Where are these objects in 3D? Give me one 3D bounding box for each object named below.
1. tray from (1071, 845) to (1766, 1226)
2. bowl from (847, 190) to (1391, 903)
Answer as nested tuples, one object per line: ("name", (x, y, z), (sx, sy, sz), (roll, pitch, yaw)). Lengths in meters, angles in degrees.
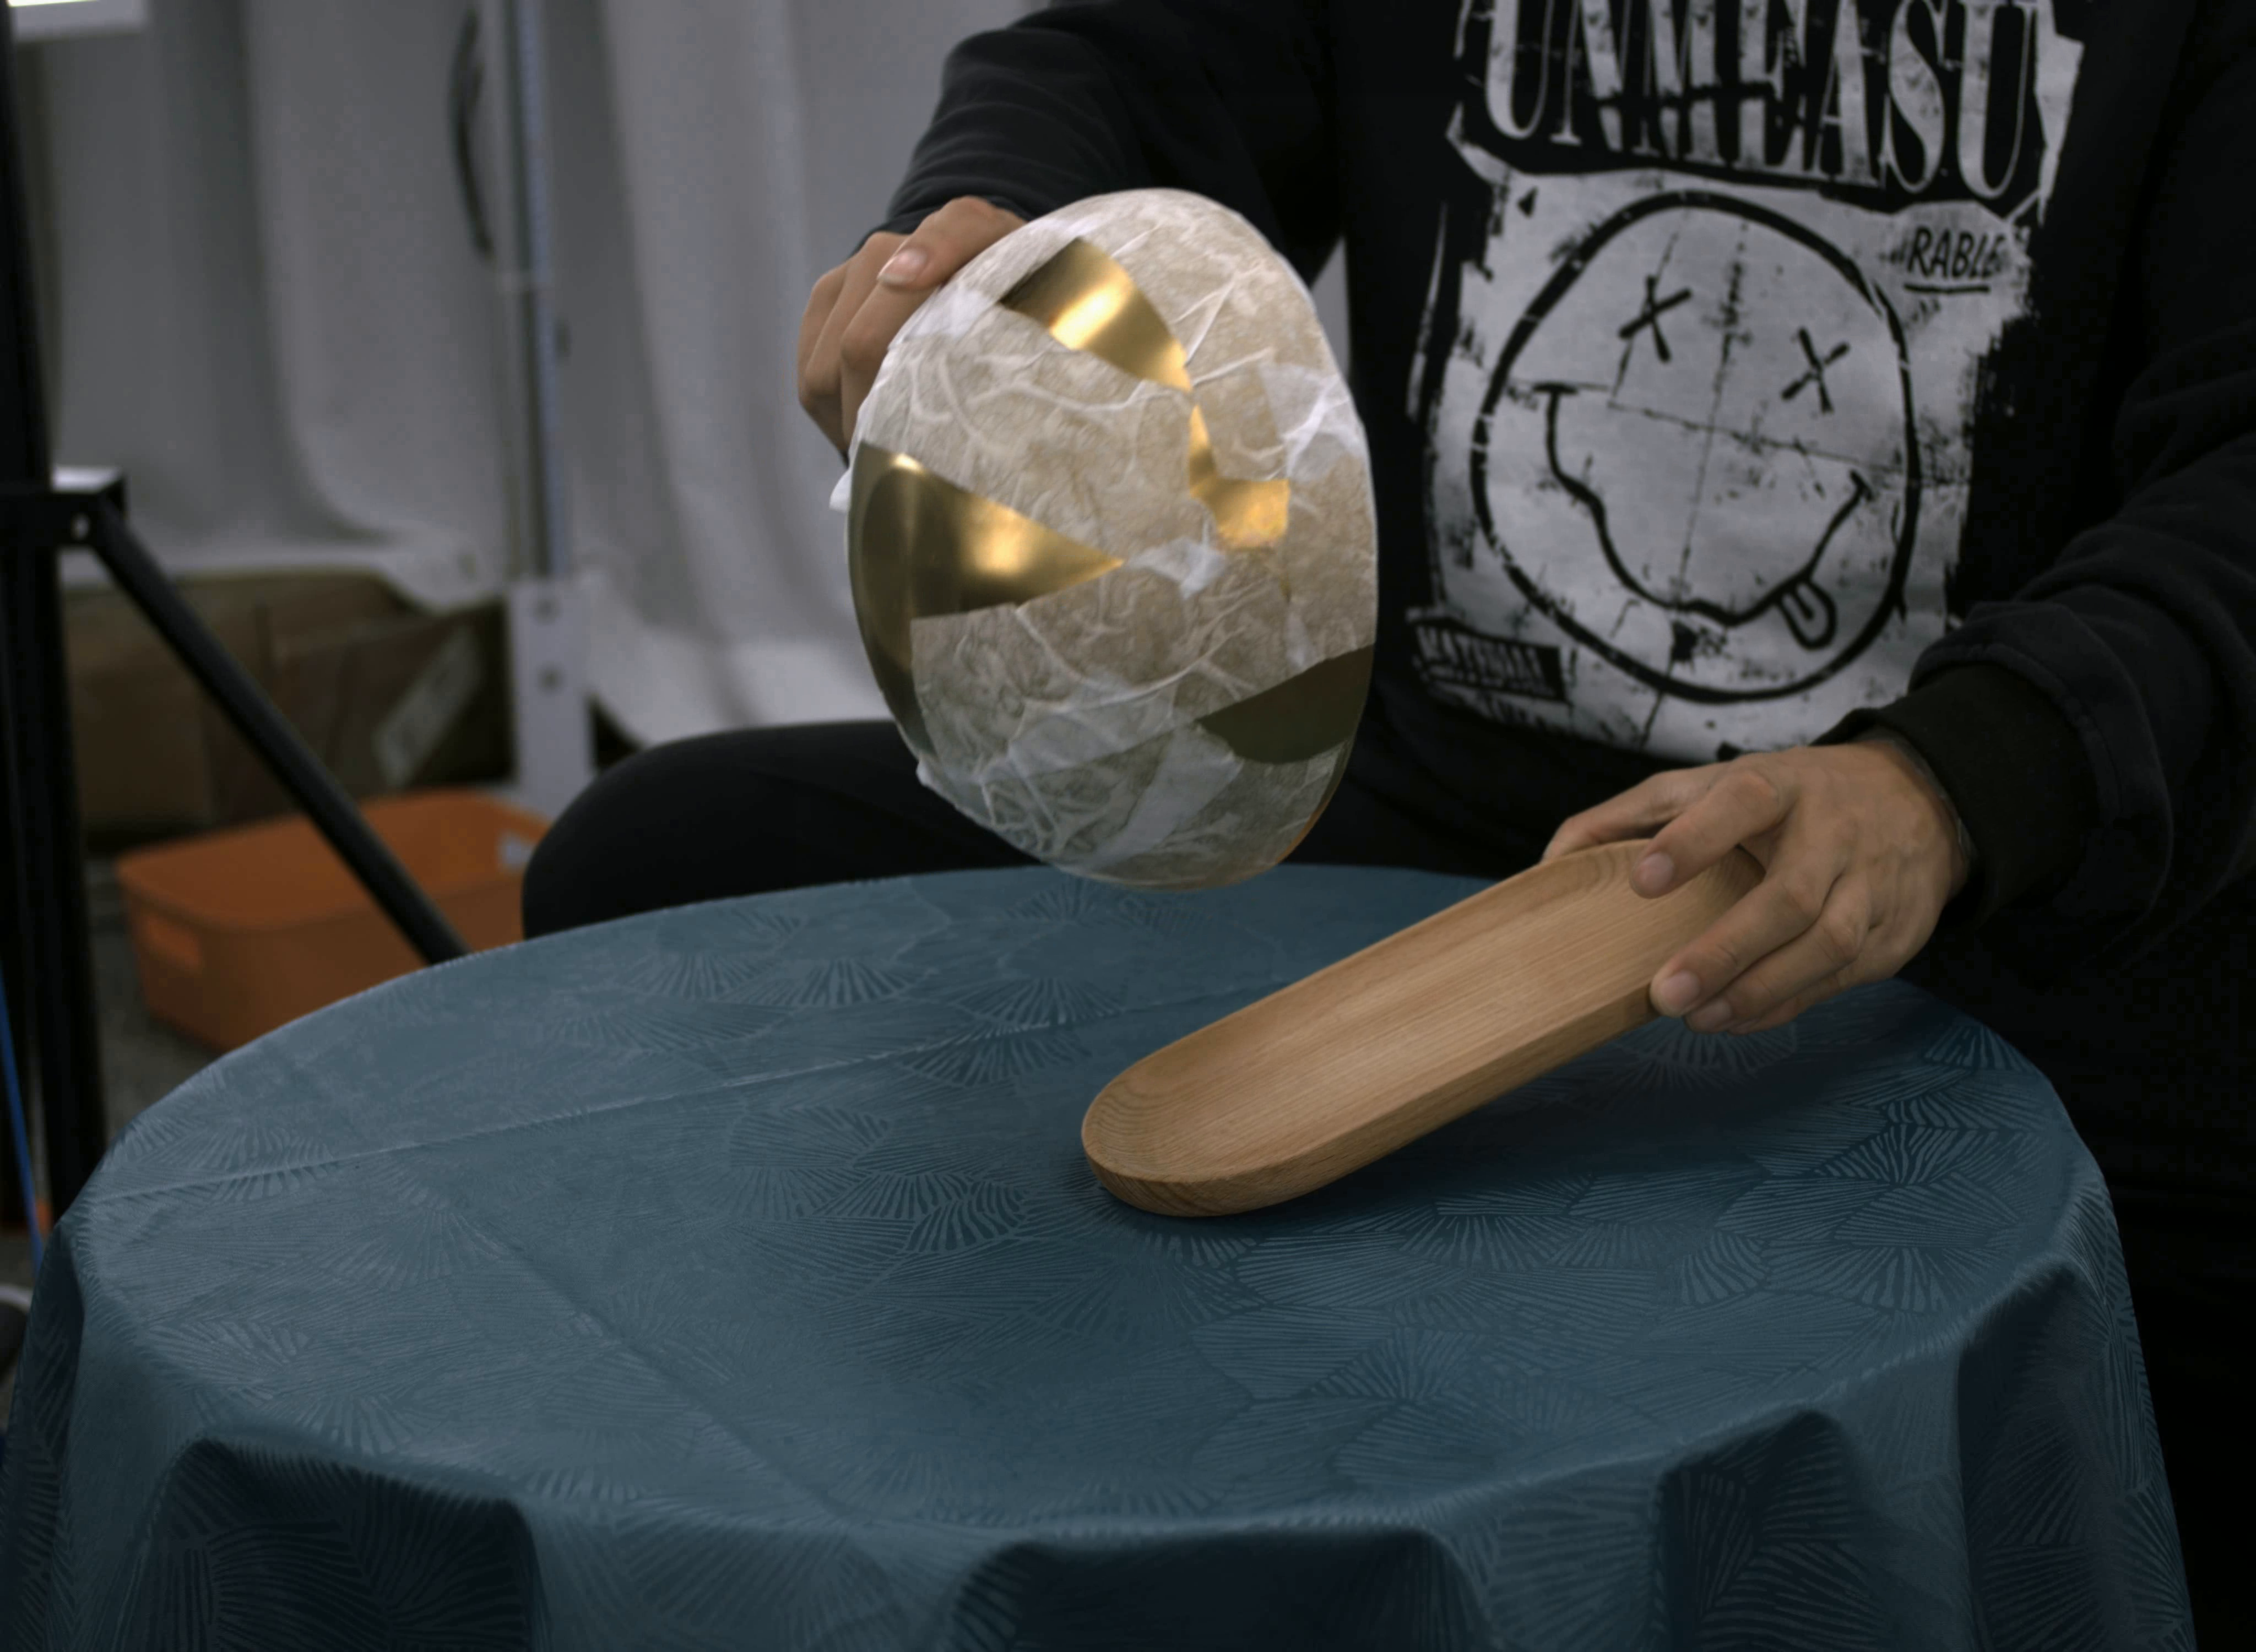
("tray", (0.089, 0.062, 1.582), (0.228, 0.020, 0.104), (-26, 24, -19))
("bowl", (-0.021, -0.070, 1.501), (0.092, 0.215, 0.219), (-9, 17, -30))
